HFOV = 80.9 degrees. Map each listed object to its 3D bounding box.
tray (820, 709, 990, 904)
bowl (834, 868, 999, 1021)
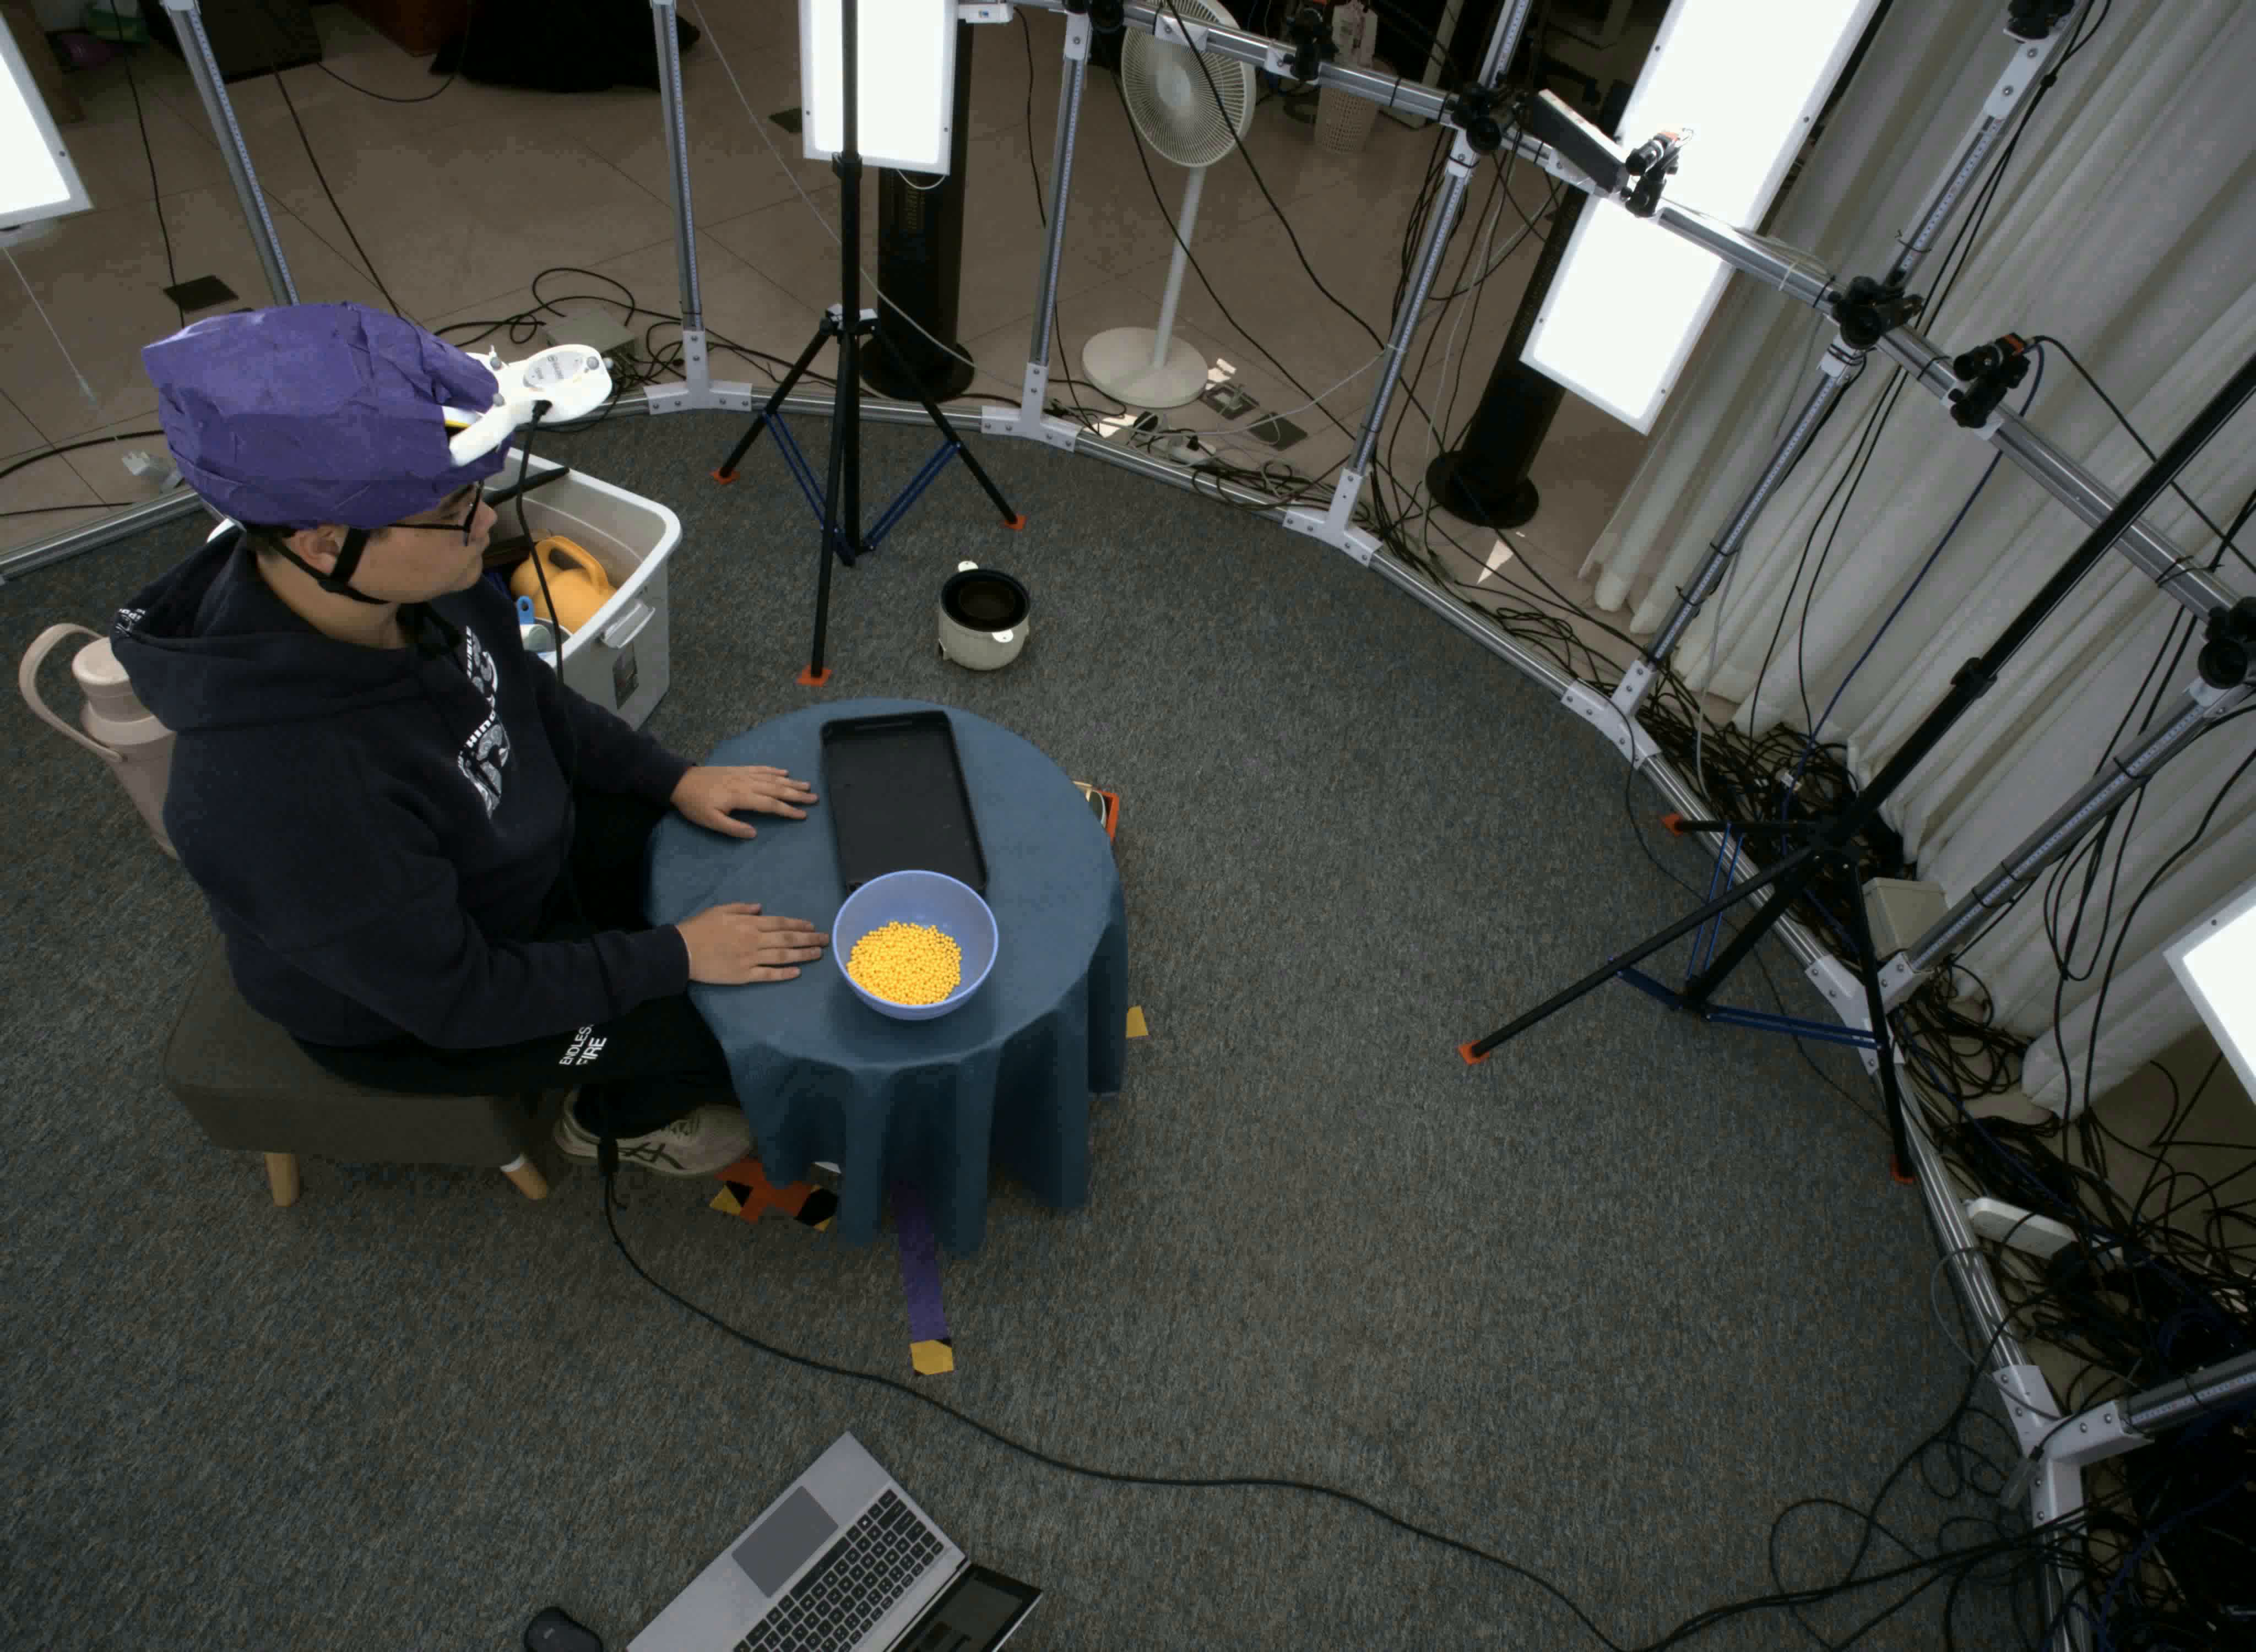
[{"bbox_3d":[-0.303,-0.023,1.744,0.185,0.038,0.310,-6,55,-18],"label":"tray"},{"bbox_3d":[-0.258,0.157,1.581,0.196,0.097,0.193,8,52,-9],"label":"bowl"}]
